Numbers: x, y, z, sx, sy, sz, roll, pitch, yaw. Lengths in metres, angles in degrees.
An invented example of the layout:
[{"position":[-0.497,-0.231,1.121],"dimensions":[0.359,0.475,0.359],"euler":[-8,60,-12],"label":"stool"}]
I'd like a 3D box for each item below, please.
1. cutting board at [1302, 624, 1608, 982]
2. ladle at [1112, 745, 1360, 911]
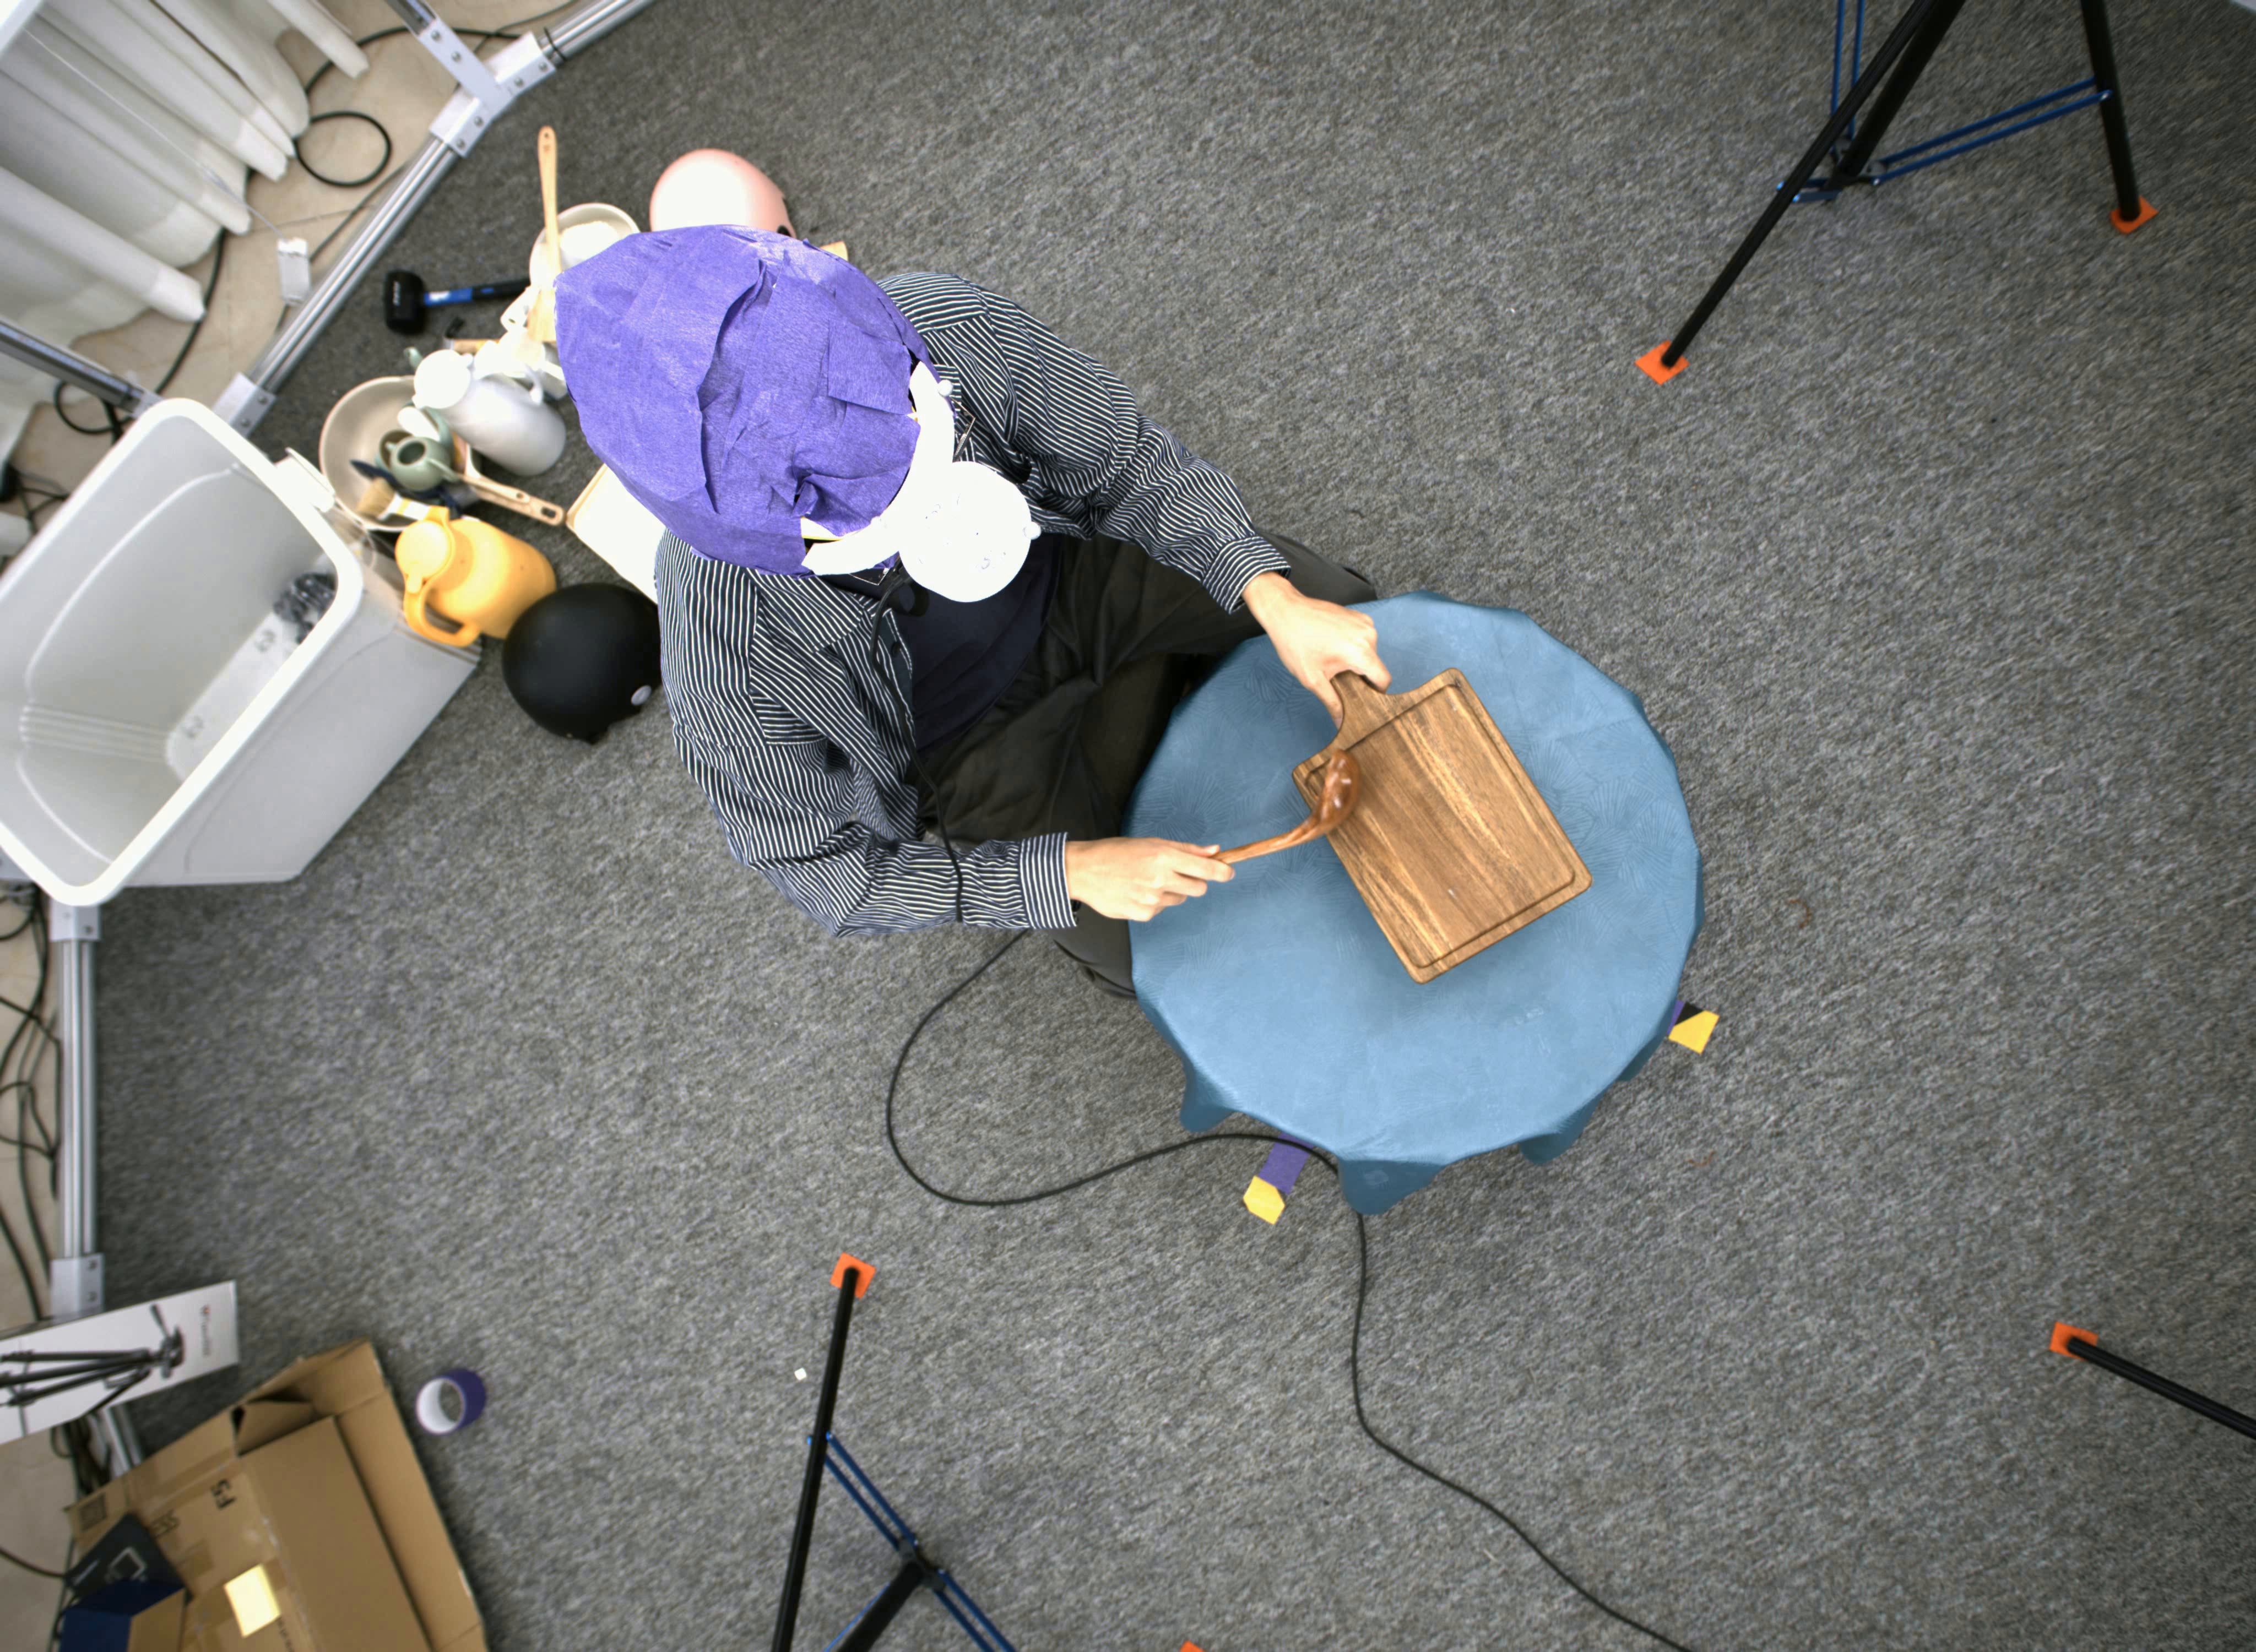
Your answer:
[{"position":[0.287,-0.047,1.330],"dimensions":[0.204,0.023,0.350],"euler":[-32,80,20],"label":"cutting board"},{"position":[0.099,0.001,1.339],"dimensions":[0.277,0.082,0.076],"euler":[-21,77,16],"label":"ladle"}]
